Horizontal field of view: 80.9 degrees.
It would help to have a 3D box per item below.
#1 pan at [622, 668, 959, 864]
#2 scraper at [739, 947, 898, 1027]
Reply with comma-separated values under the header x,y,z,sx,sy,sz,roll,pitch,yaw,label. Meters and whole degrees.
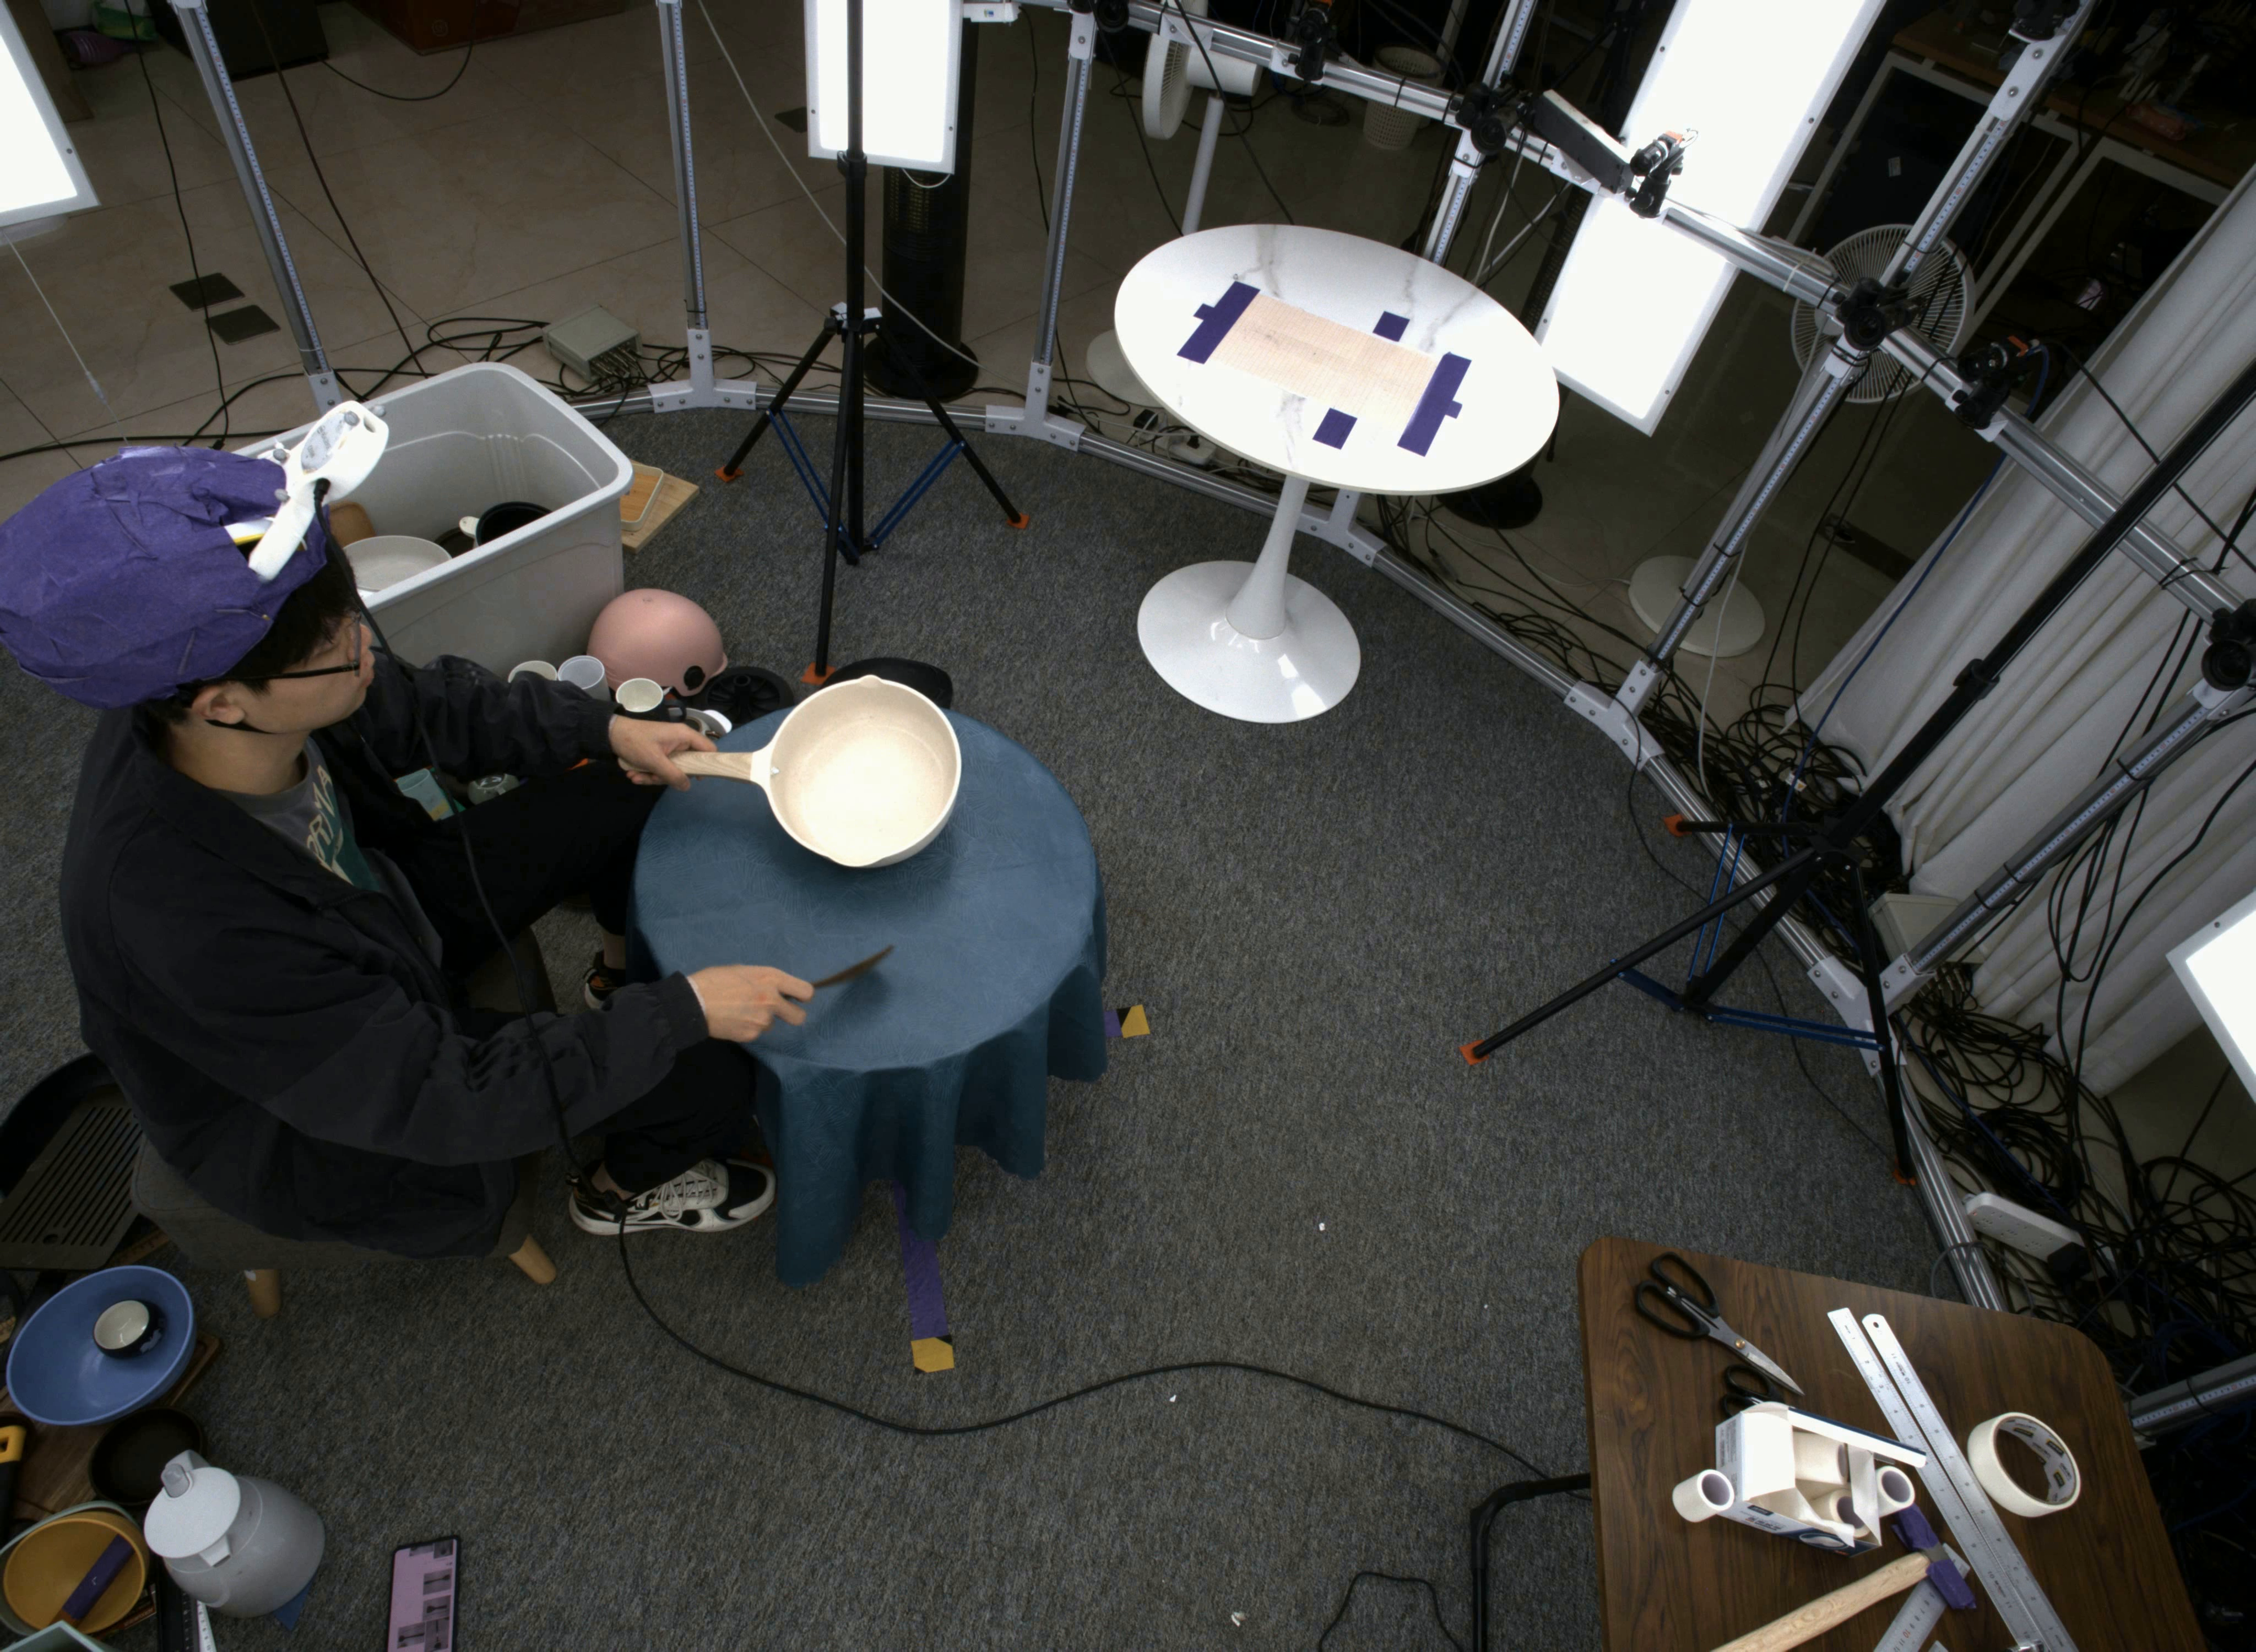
x,y,z,sx,sy,sz,roll,pitch,yaw,label
-0.432,-0.070,1.687,0.431,0.103,0.262,0,74,-3,pan
-0.362,0.191,1.525,0.213,0.076,0.011,-21,72,-42,scraper
